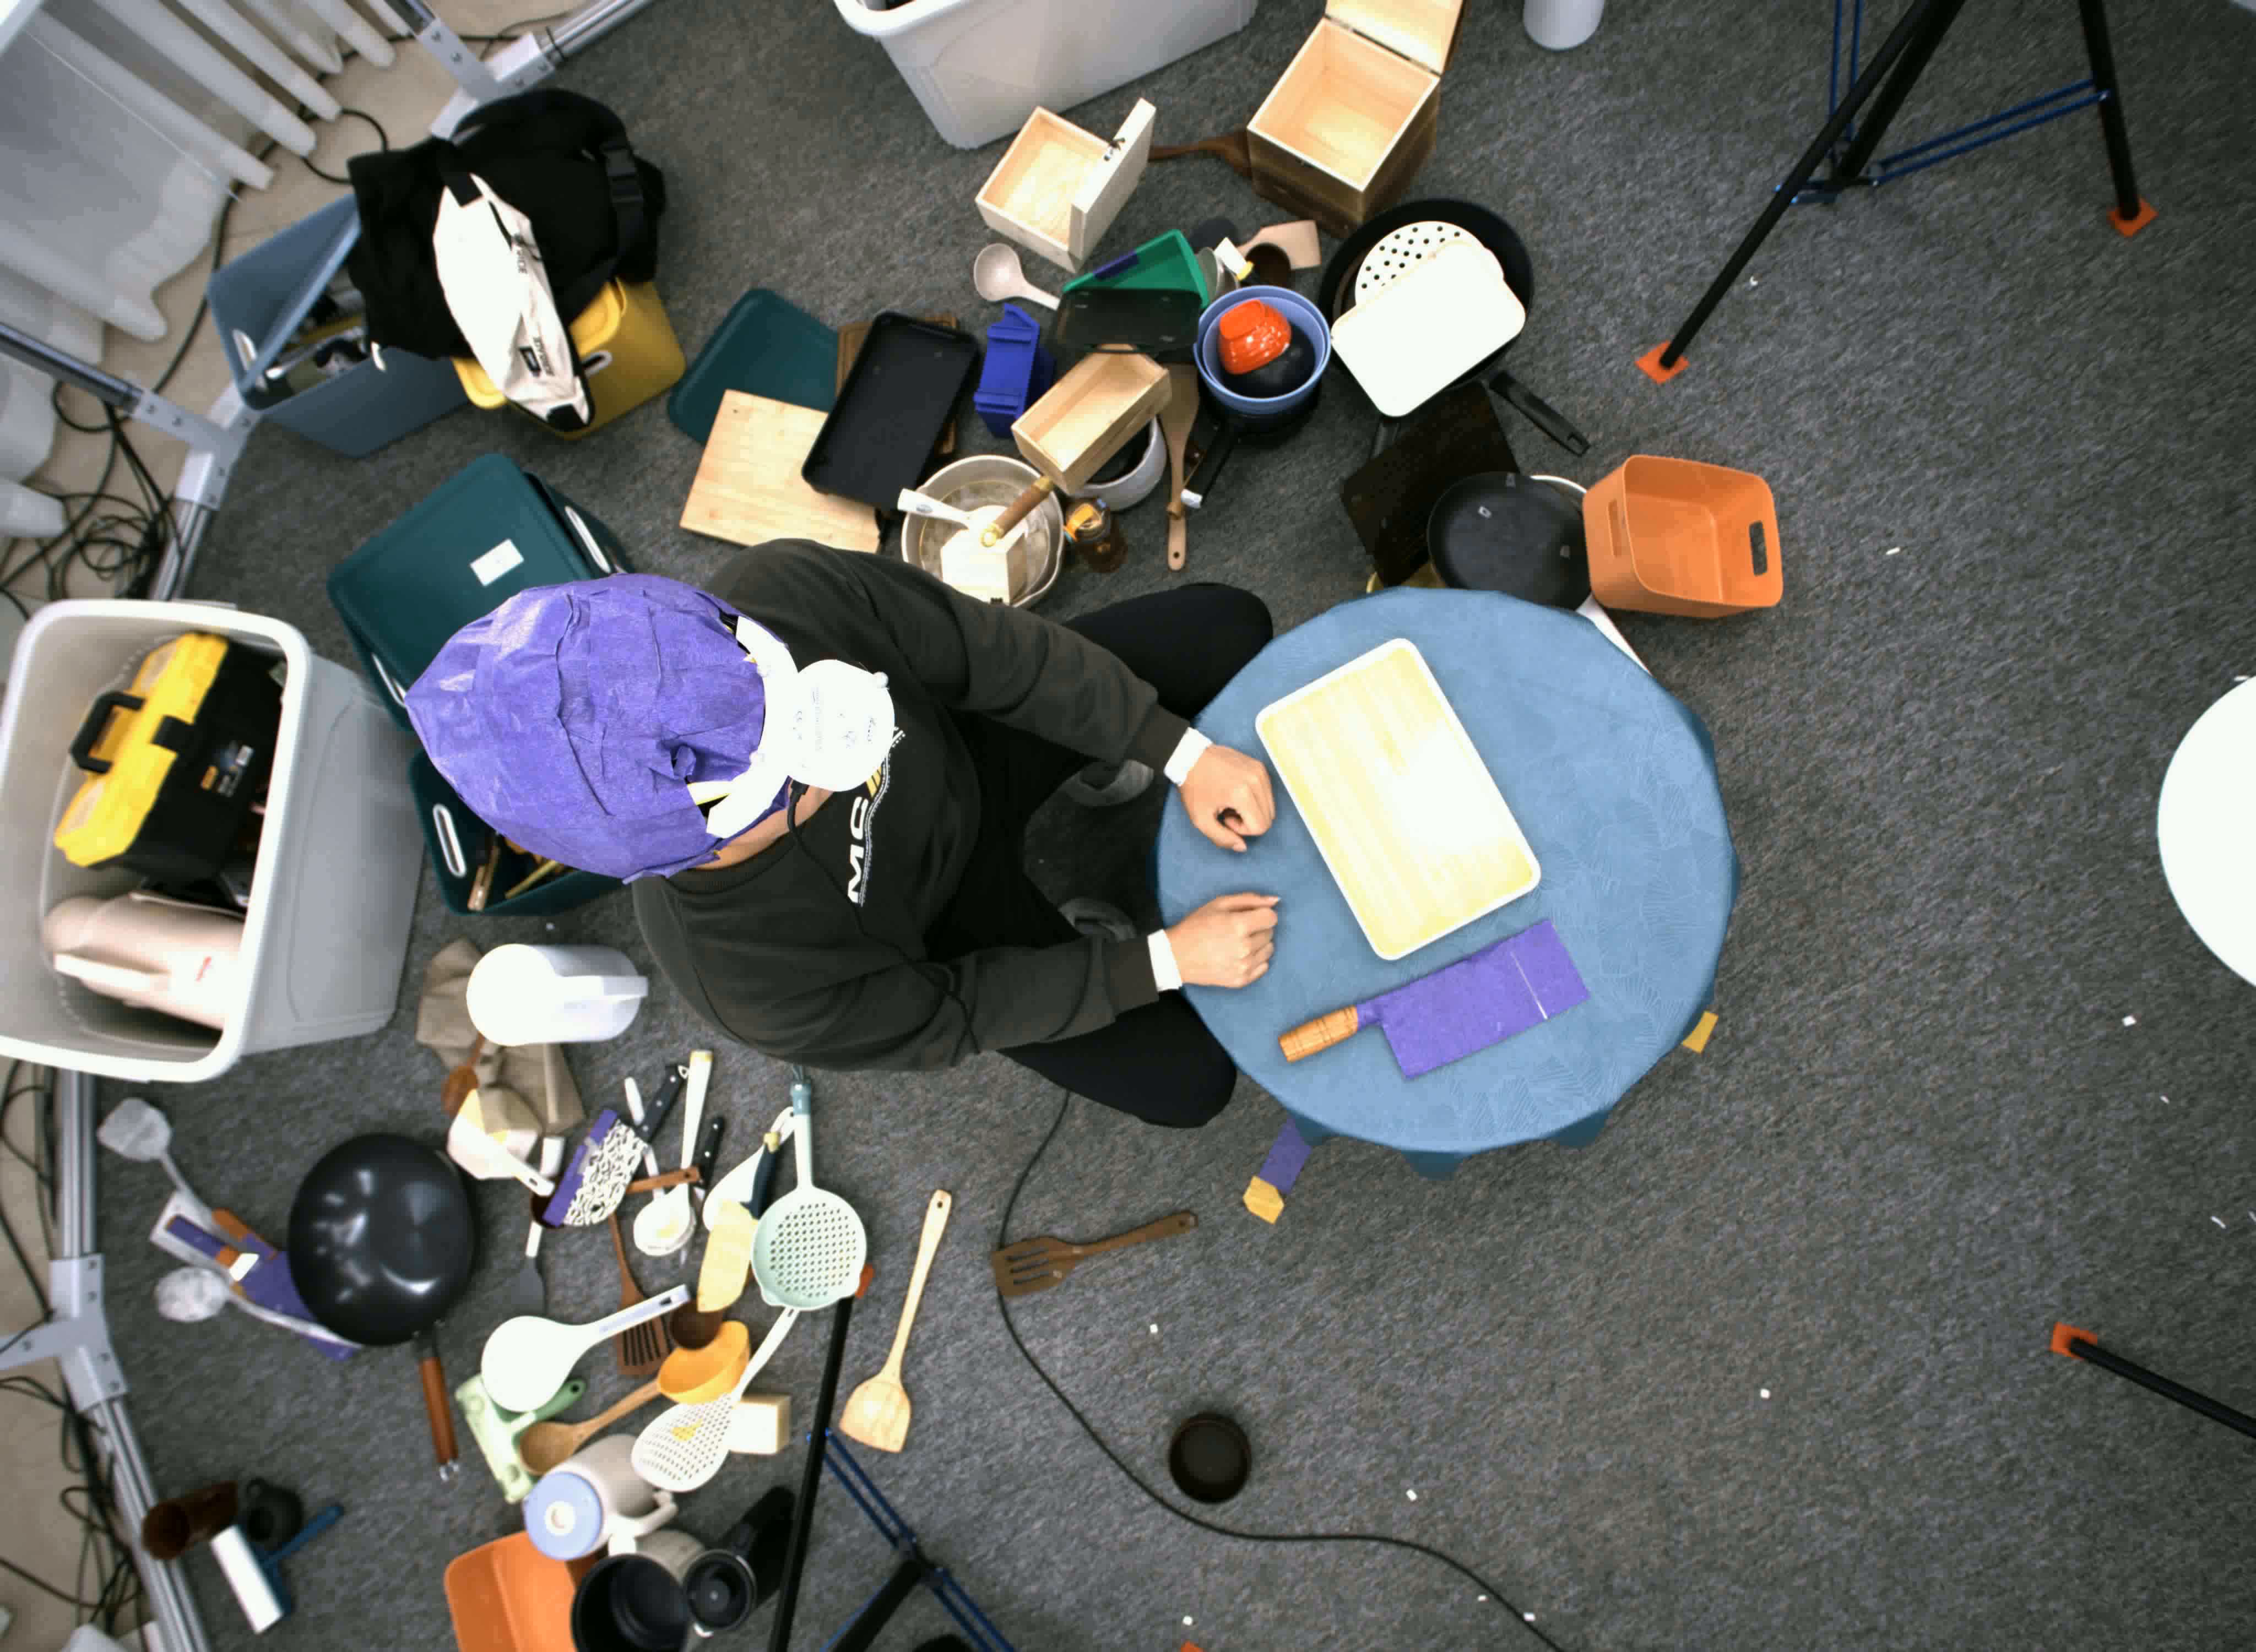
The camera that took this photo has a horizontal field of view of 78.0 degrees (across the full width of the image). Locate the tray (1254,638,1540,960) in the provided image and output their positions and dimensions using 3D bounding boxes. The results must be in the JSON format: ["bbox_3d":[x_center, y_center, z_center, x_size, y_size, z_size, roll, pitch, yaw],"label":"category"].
[{"bbox_3d":[0.280,-0.030,1.450,0.193,0.027,0.298,-28,82,8],"label":"tray"}]

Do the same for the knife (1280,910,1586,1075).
[{"bbox_3d":[0.317,0.197,1.430,0.317,0.032,0.103,-26,82,8],"label":"knife"}]
